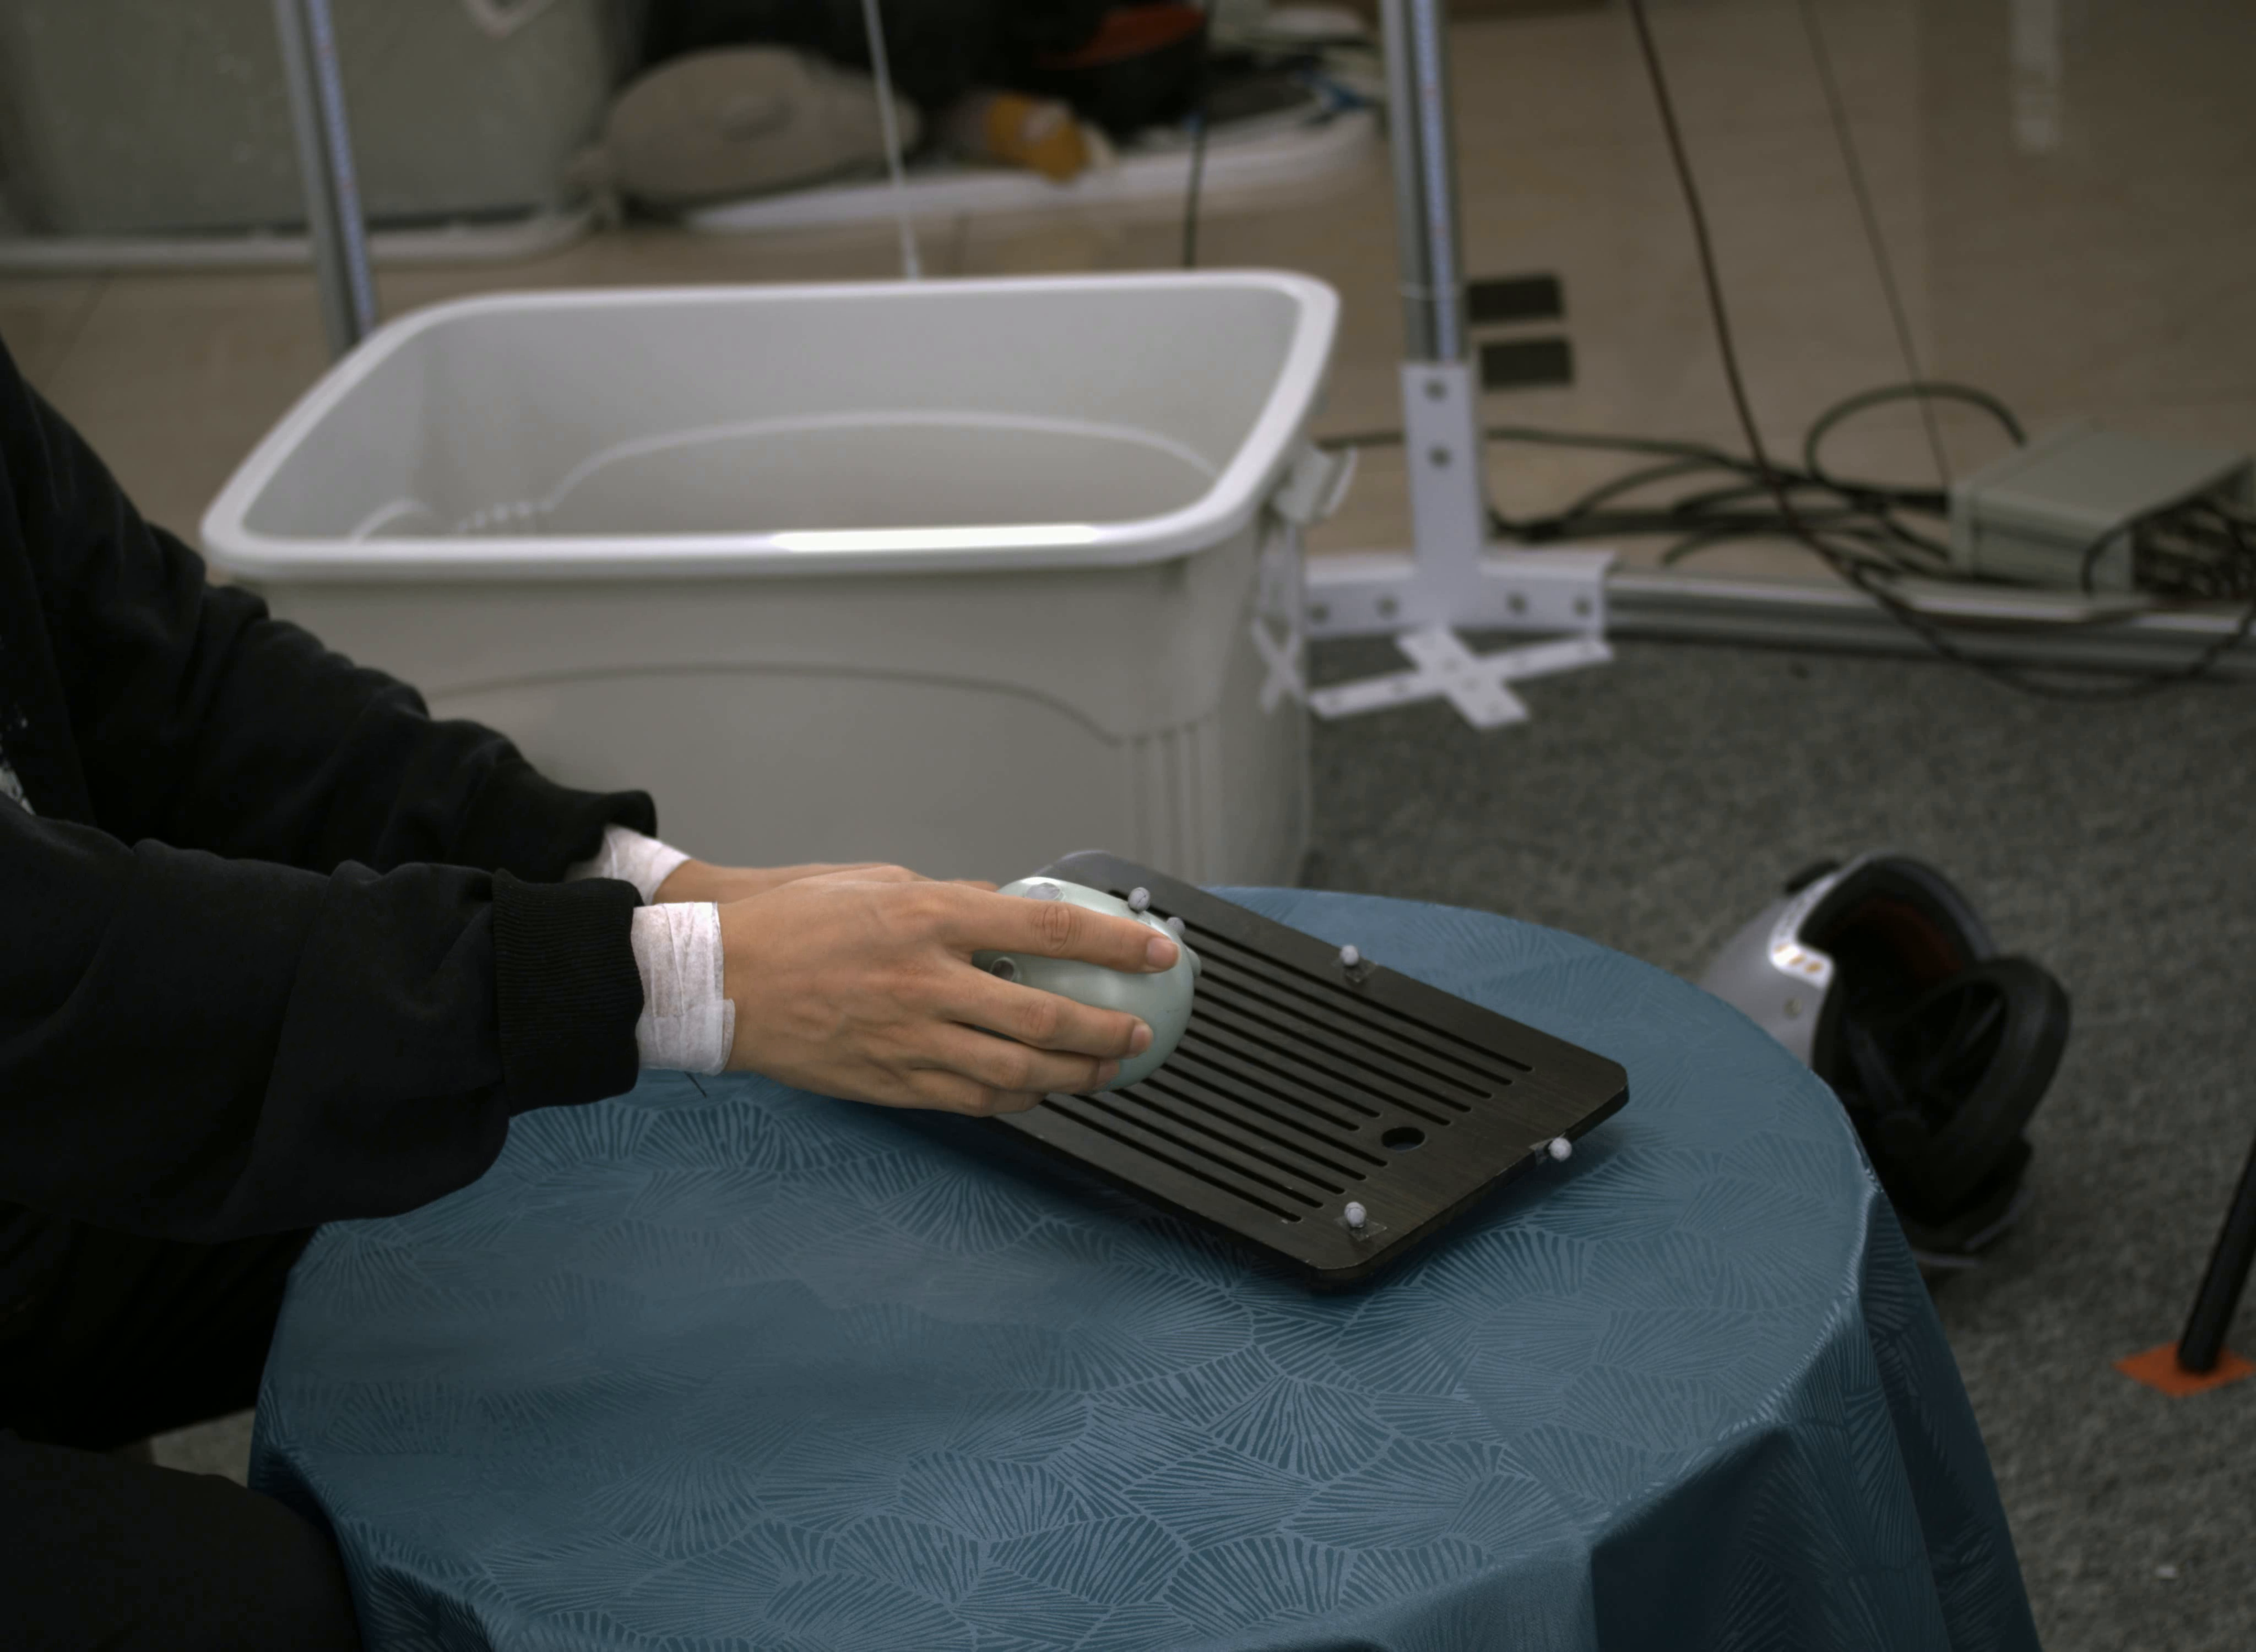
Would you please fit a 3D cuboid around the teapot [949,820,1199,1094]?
[{"bbox_3d":[-0.021,0.056,2.054,0.088,0.145,0.074,14,75,35],"label":"teapot"}]

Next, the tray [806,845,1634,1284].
[{"bbox_3d":[0.032,0.090,2.197,0.168,0.019,0.303,-31,37,-34],"label":"tray"}]
